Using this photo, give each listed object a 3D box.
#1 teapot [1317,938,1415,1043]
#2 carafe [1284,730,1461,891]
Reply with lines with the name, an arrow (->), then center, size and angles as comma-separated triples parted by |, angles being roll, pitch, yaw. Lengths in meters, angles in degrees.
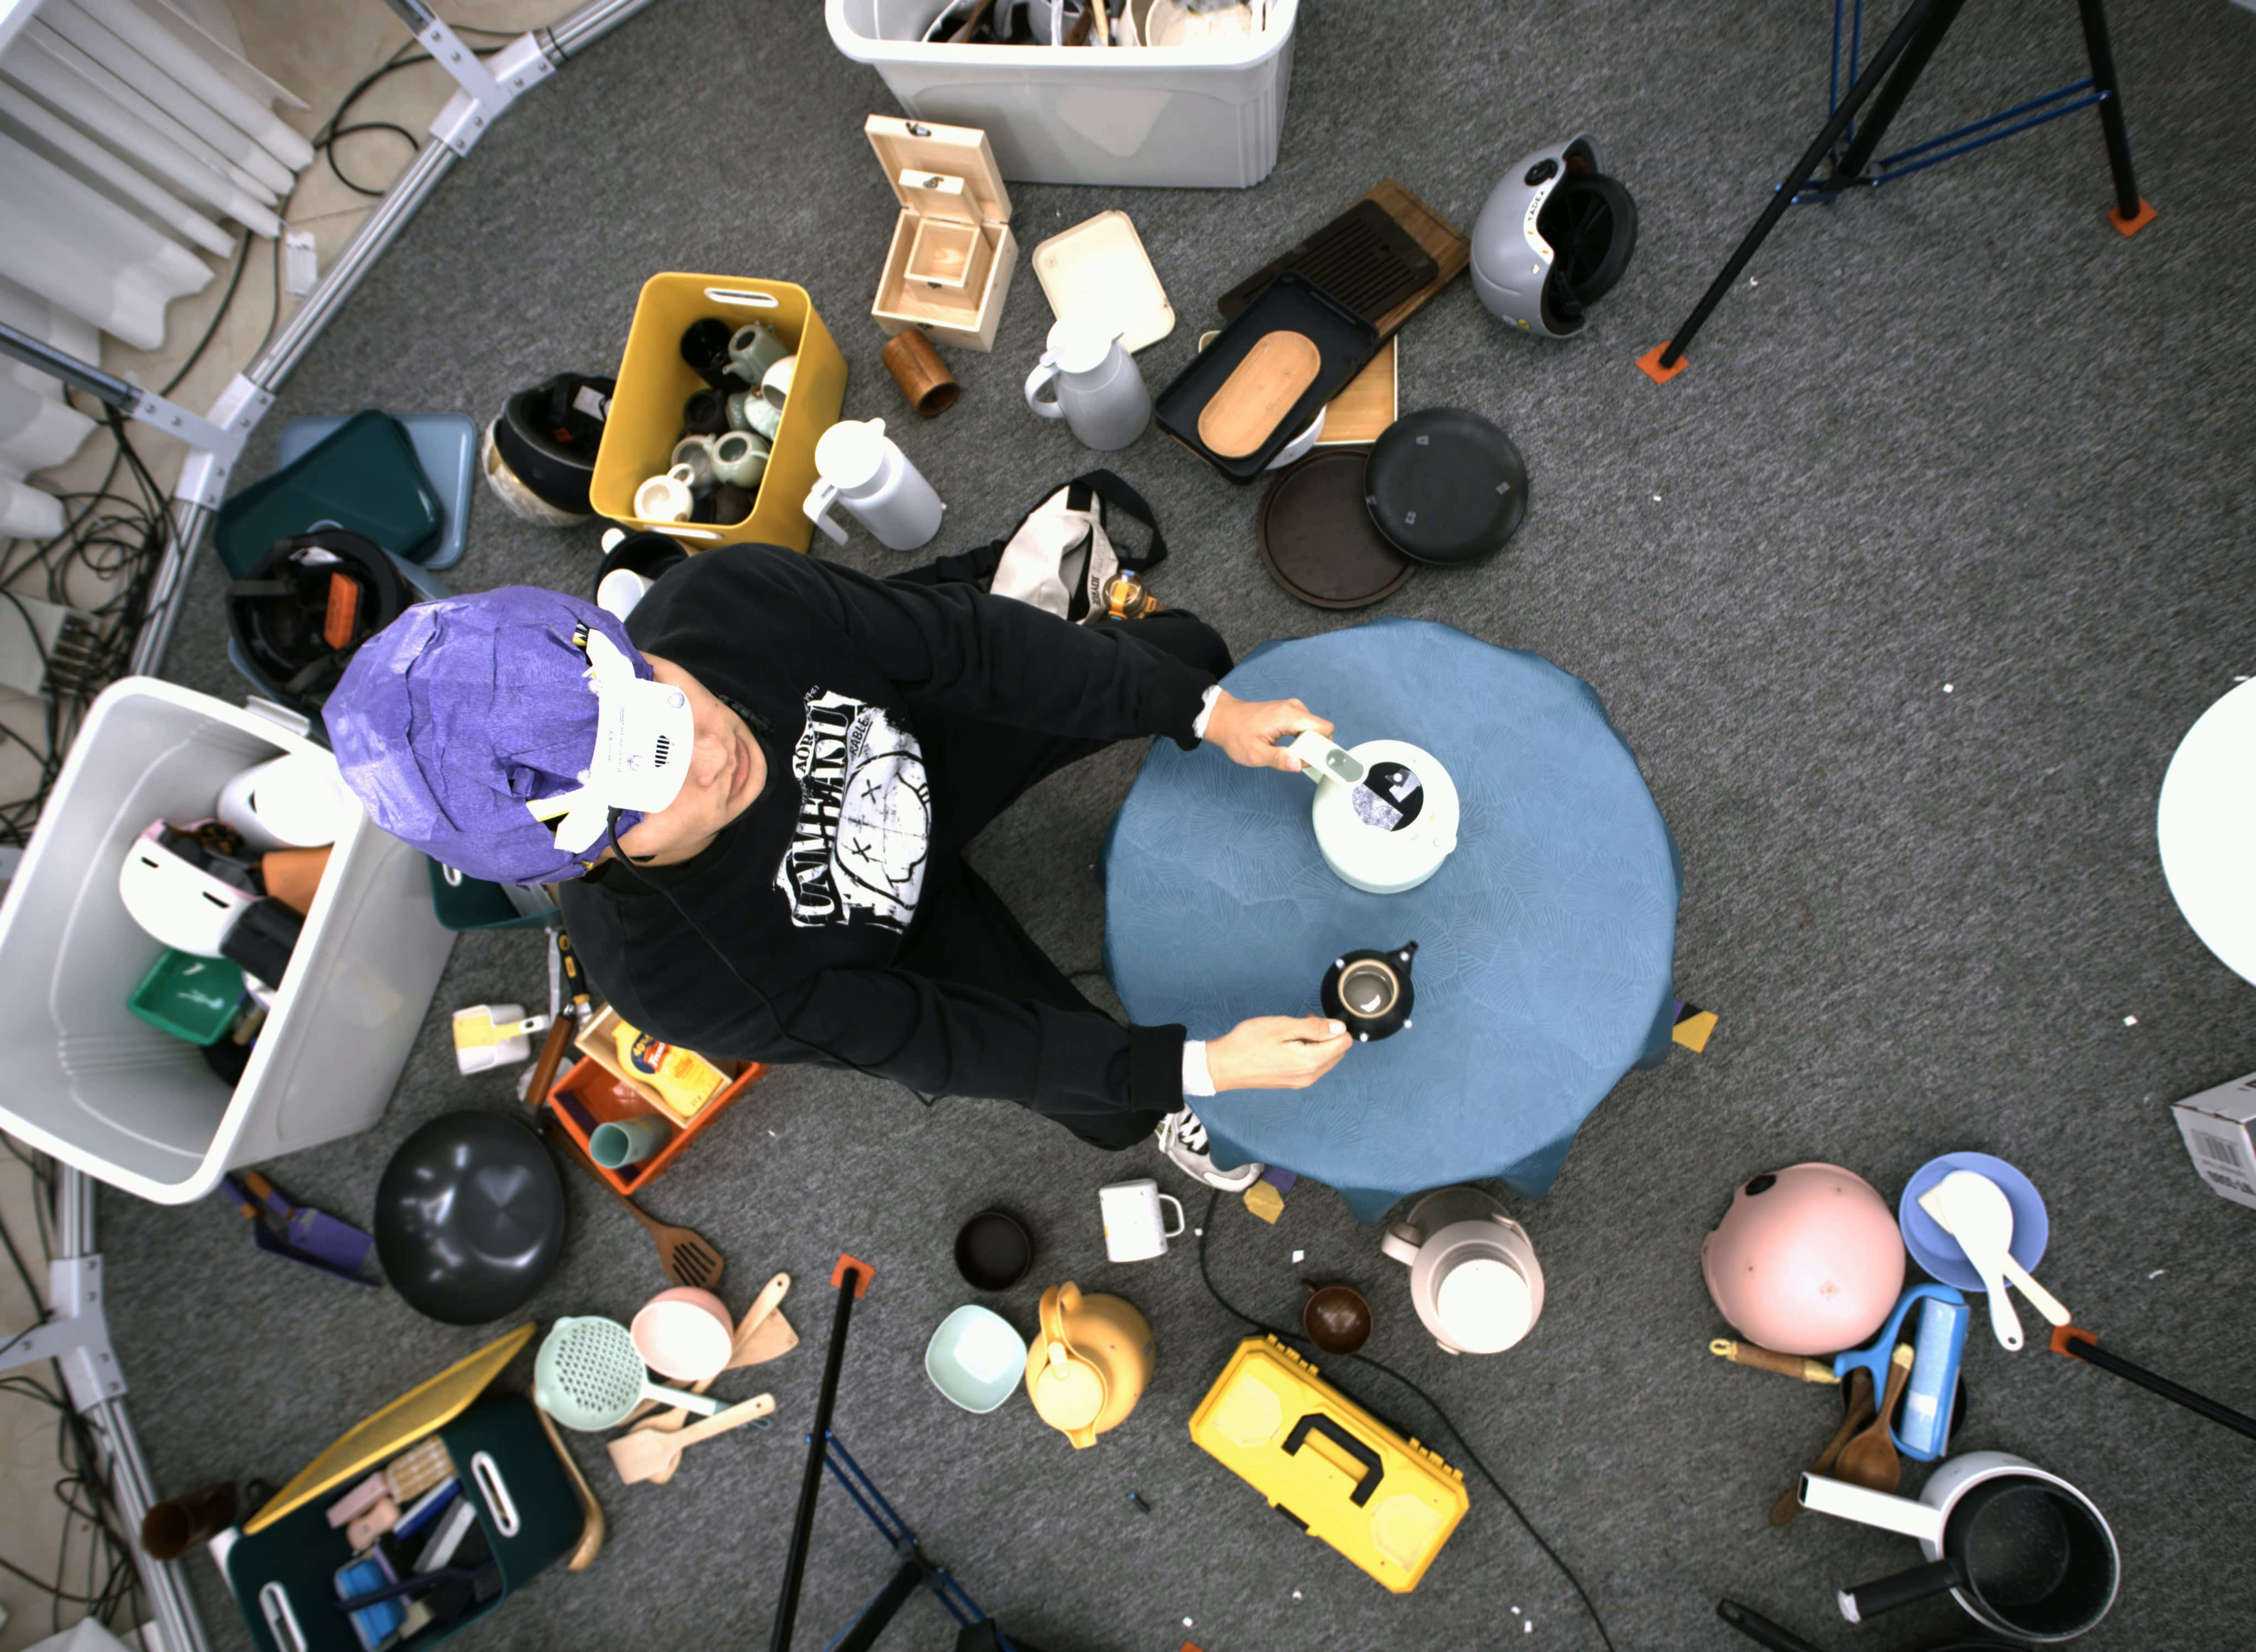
teapot -> 0.231, 0.162, 1.348 | 0.132, 0.054, 0.090 | -45, 71, -7
carafe -> 0.240, -0.023, 1.345 | 0.186, 0.257, 0.145 | 37, 94, 15
